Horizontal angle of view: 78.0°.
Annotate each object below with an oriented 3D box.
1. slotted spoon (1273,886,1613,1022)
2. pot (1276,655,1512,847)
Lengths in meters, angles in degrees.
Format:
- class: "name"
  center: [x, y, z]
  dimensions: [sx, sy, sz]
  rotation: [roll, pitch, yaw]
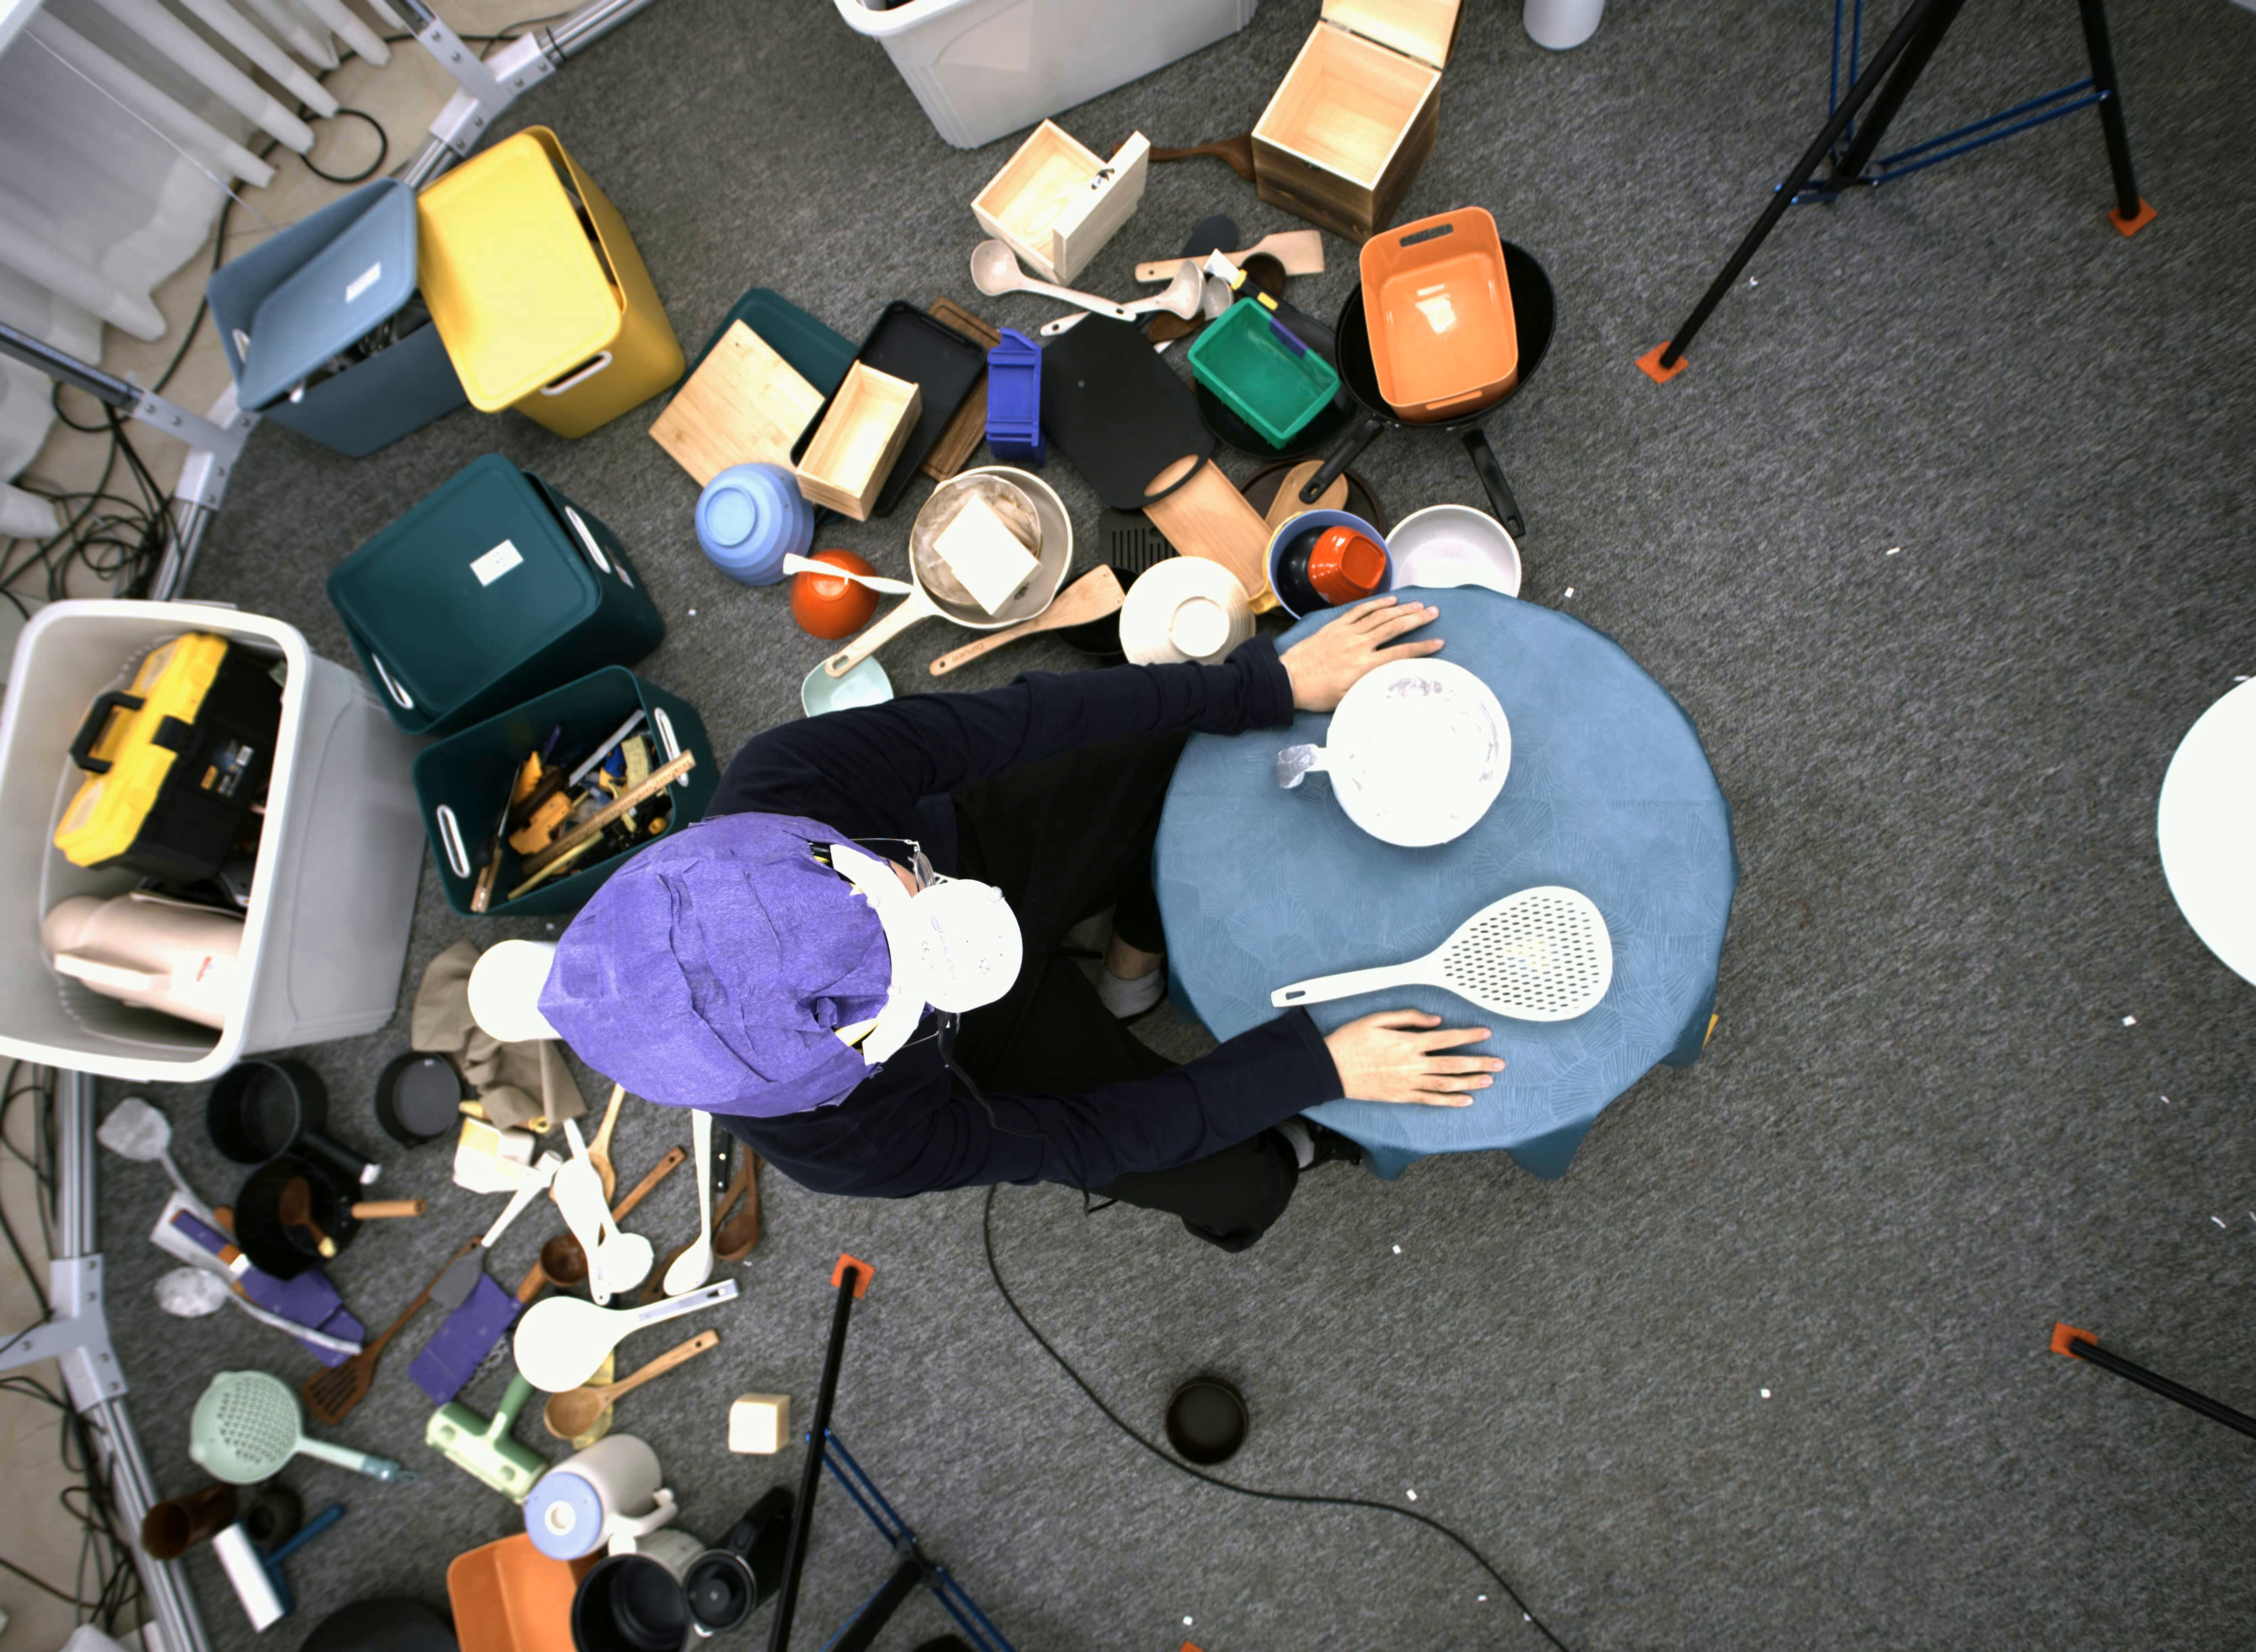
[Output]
- class: "slotted spoon"
  center: [0.319, 0.149, 1.425]
  dimensions: [0.350, 0.050, 0.136]
  rotation: [-11, 85, 9]
- class: "pot"
  center: [0.265, -0.069, 1.399]
  dimensions: [0.235, 0.137, 0.177]
  rotation: [-5, 82, 10]
